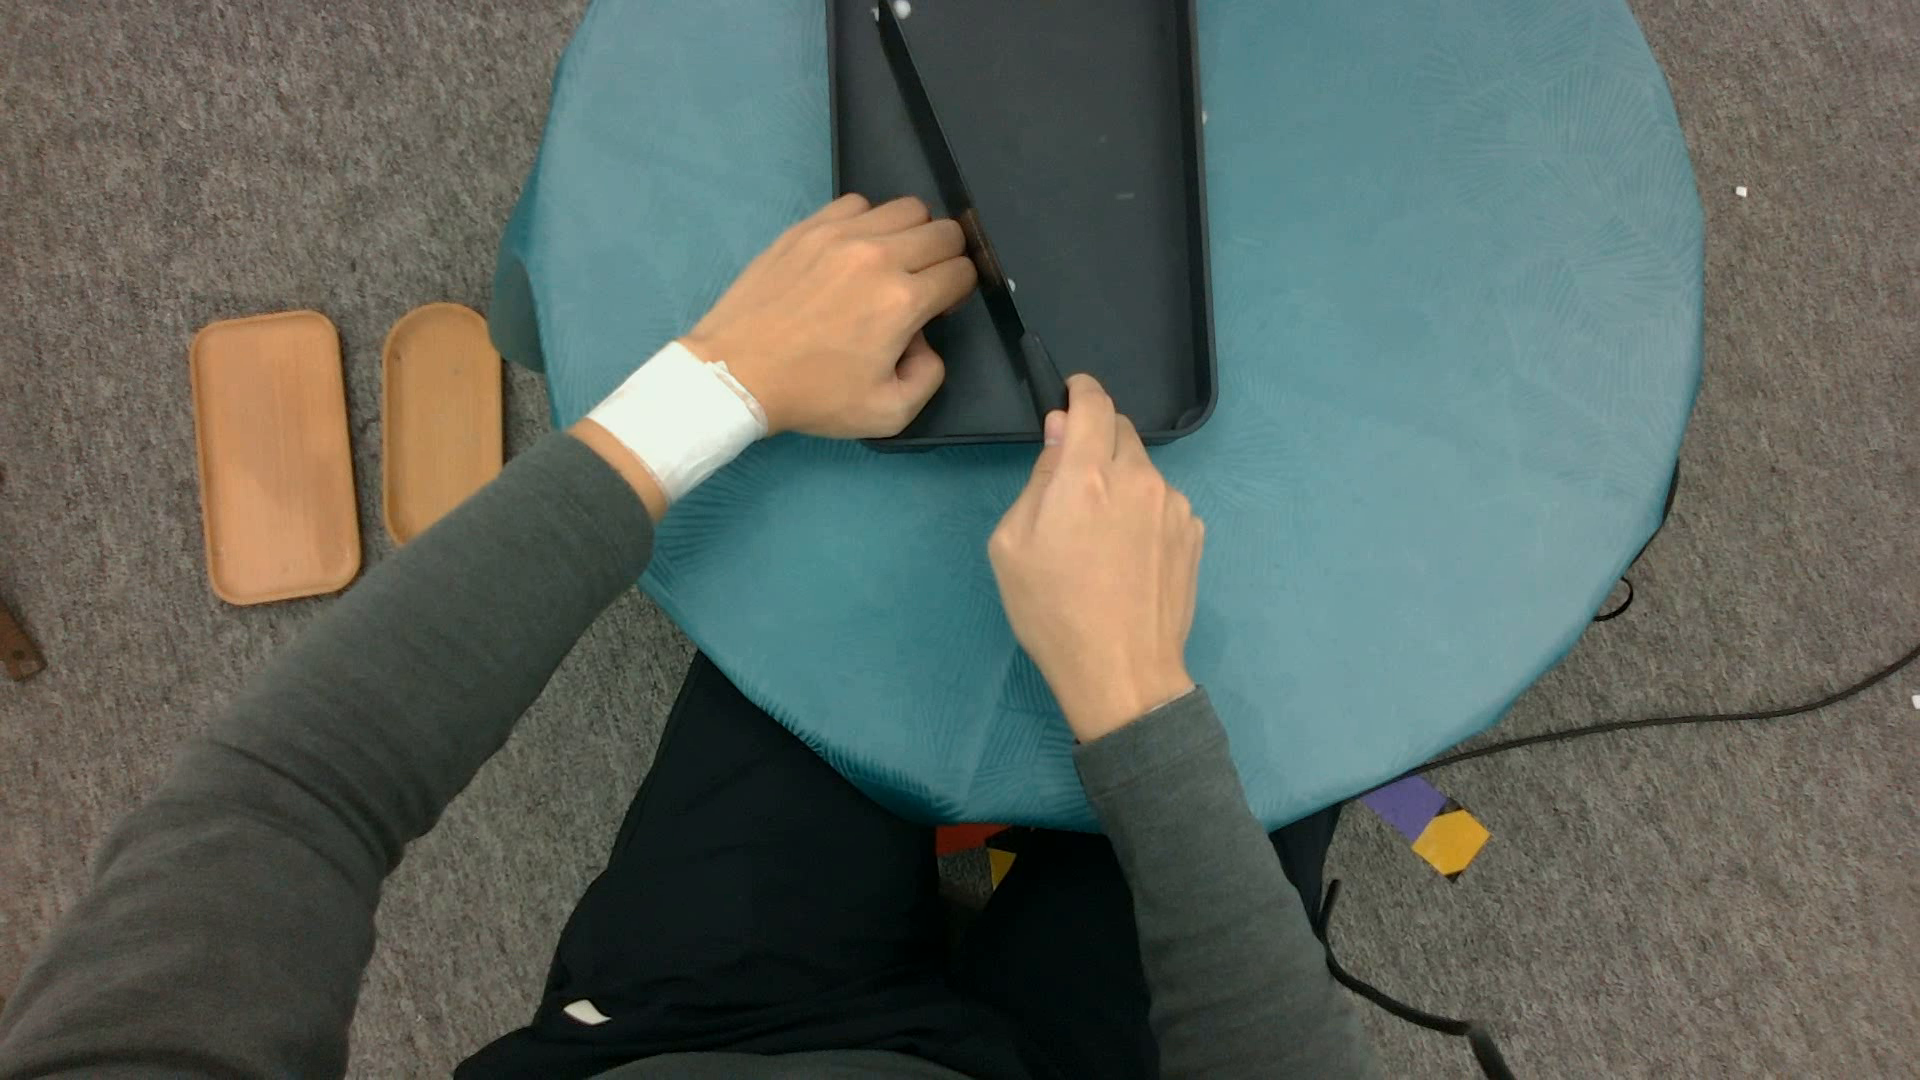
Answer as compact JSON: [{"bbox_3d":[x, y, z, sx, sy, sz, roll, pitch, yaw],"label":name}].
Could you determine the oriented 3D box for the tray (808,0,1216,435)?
[{"bbox_3d":[0.019,-0.212,0.686,0.184,0.037,0.318,-4,83,-4],"label":"tray"}]

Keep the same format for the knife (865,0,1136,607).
[{"bbox_3d":[0.013,-0.112,0.620,0.021,0.081,0.302,-22,83,-5],"label":"knife"}]
